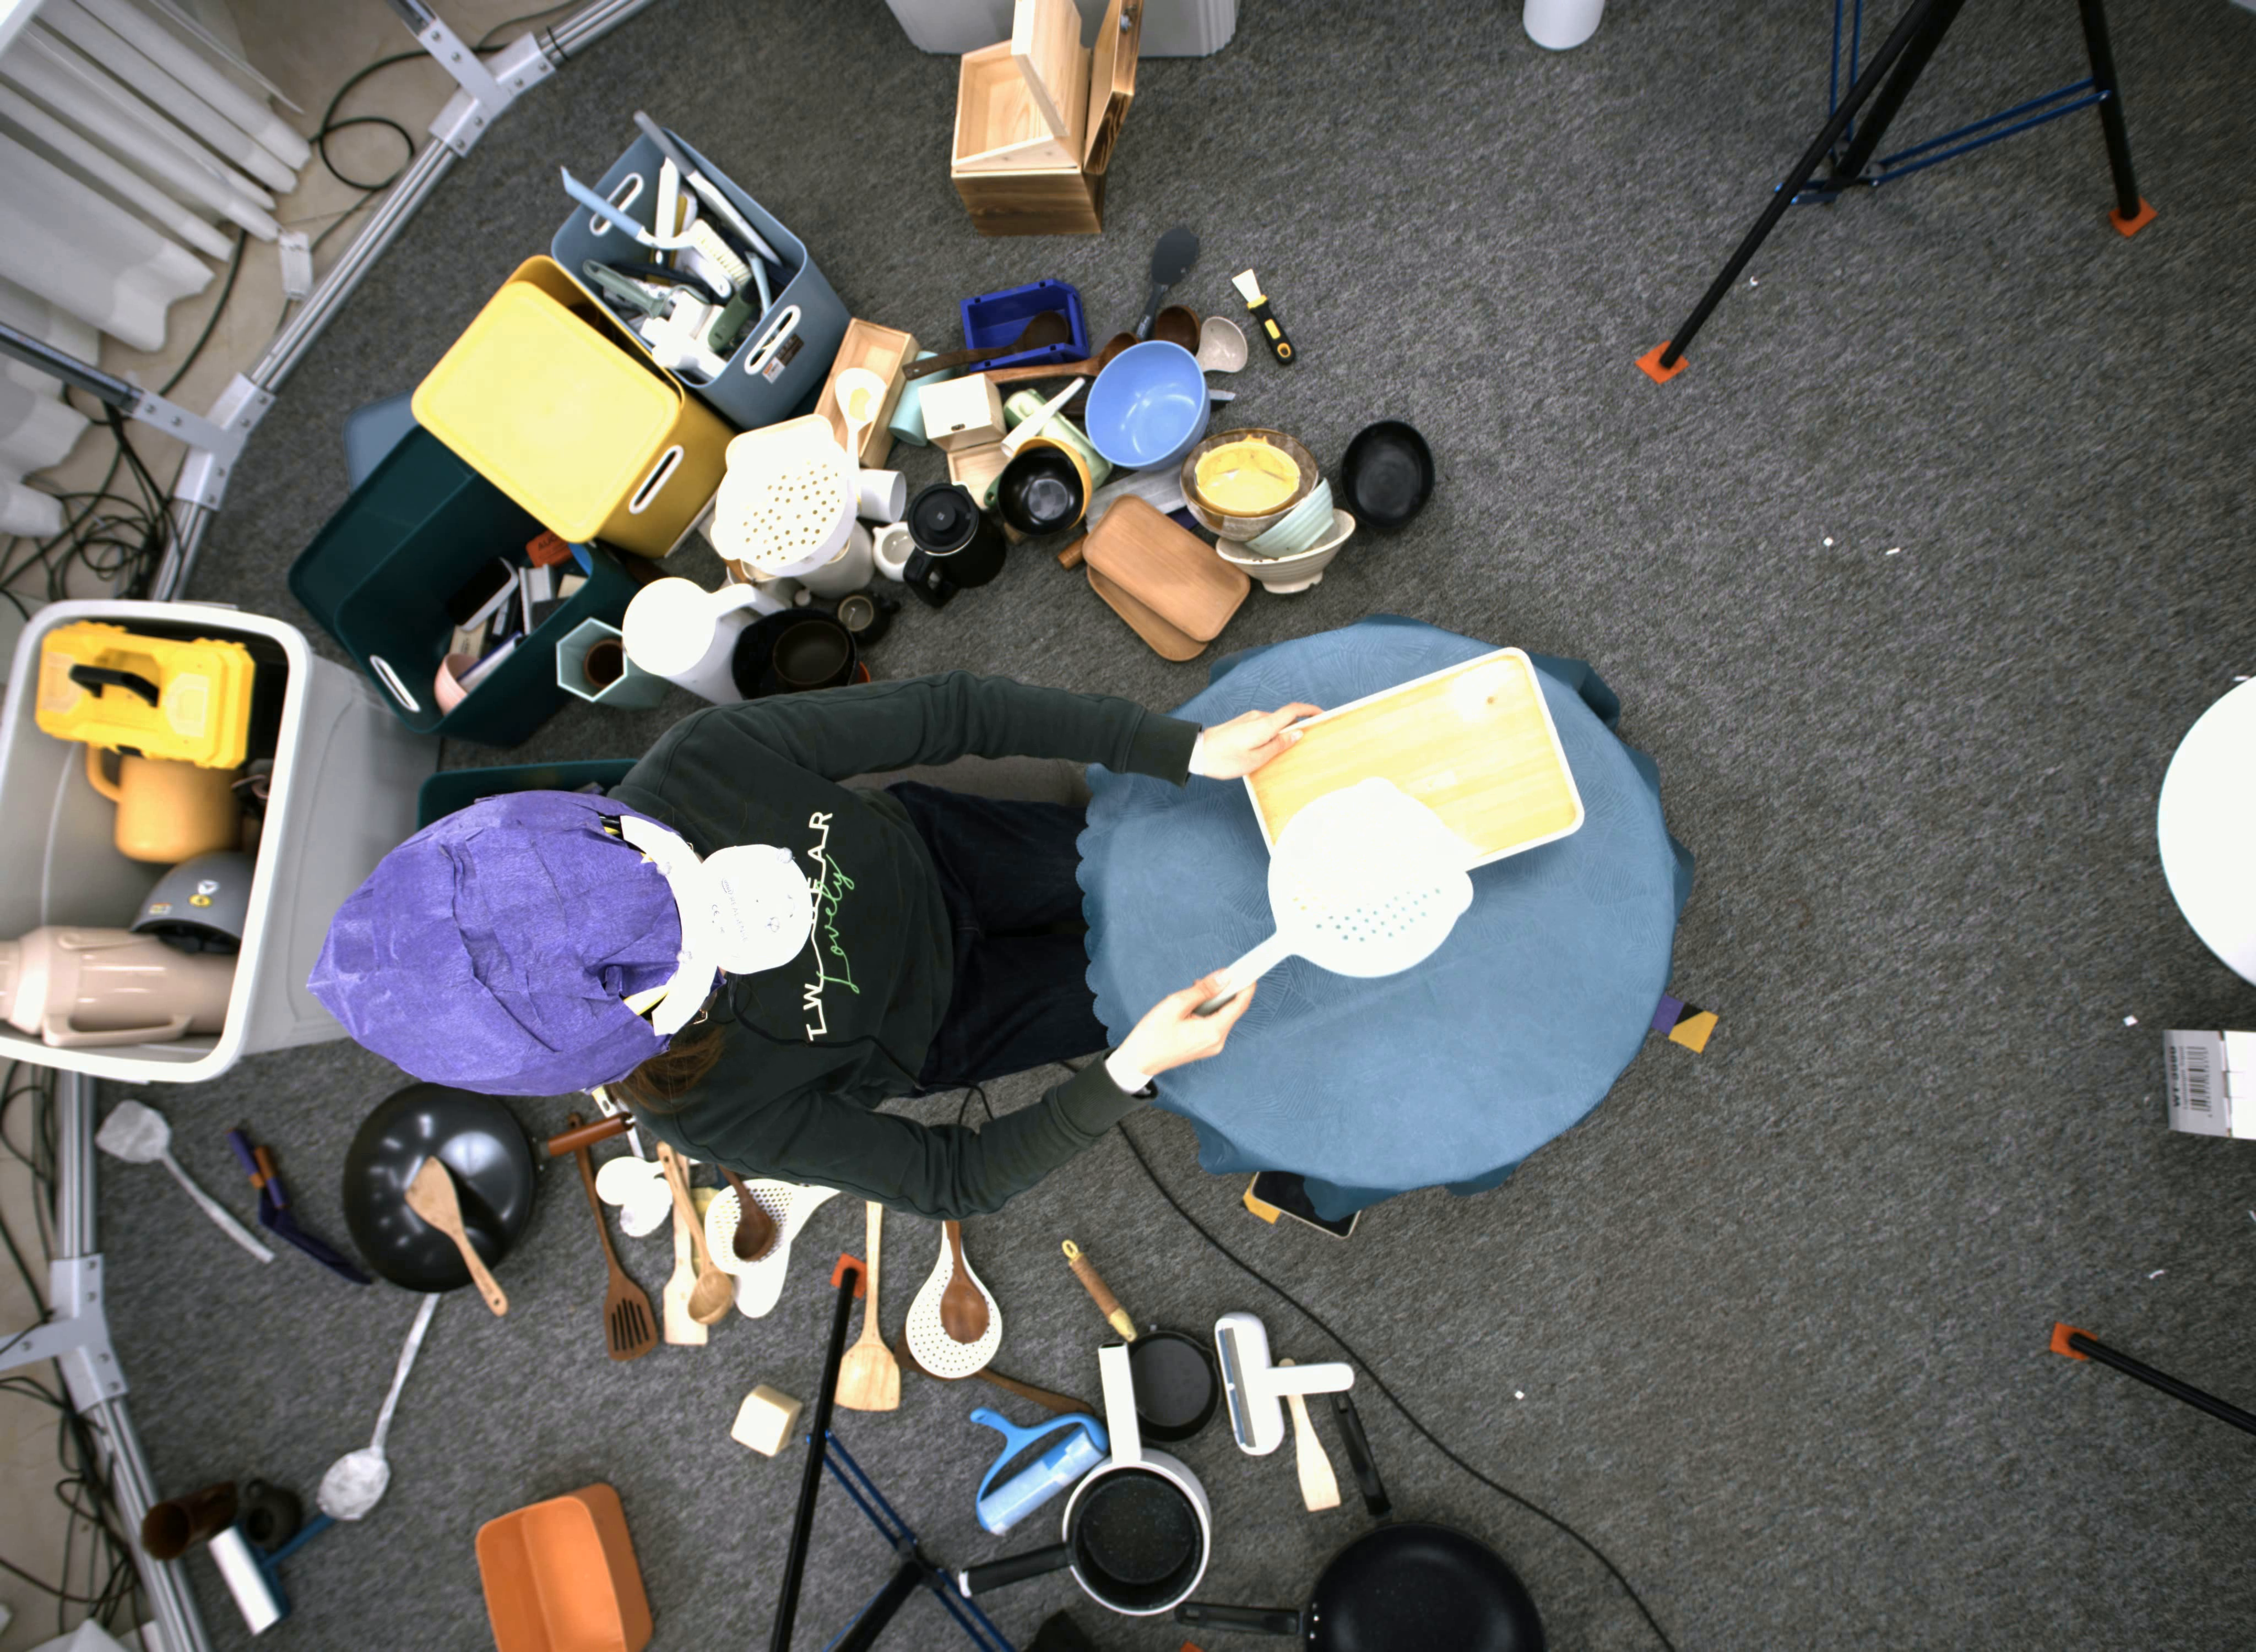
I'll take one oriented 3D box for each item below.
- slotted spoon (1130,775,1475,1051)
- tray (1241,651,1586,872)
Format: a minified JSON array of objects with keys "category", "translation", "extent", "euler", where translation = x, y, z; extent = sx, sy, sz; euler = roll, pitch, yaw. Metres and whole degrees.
[{"category":"slotted spoon","translation":[0.140,0.102,1.261],"extent":[0.361,0.074,0.170],"euler":[-39,94,10]},{"category":"tray","translation":[0.279,-0.038,1.361],"extent":[0.302,0.027,0.191],"euler":[-19,90,11]}]
